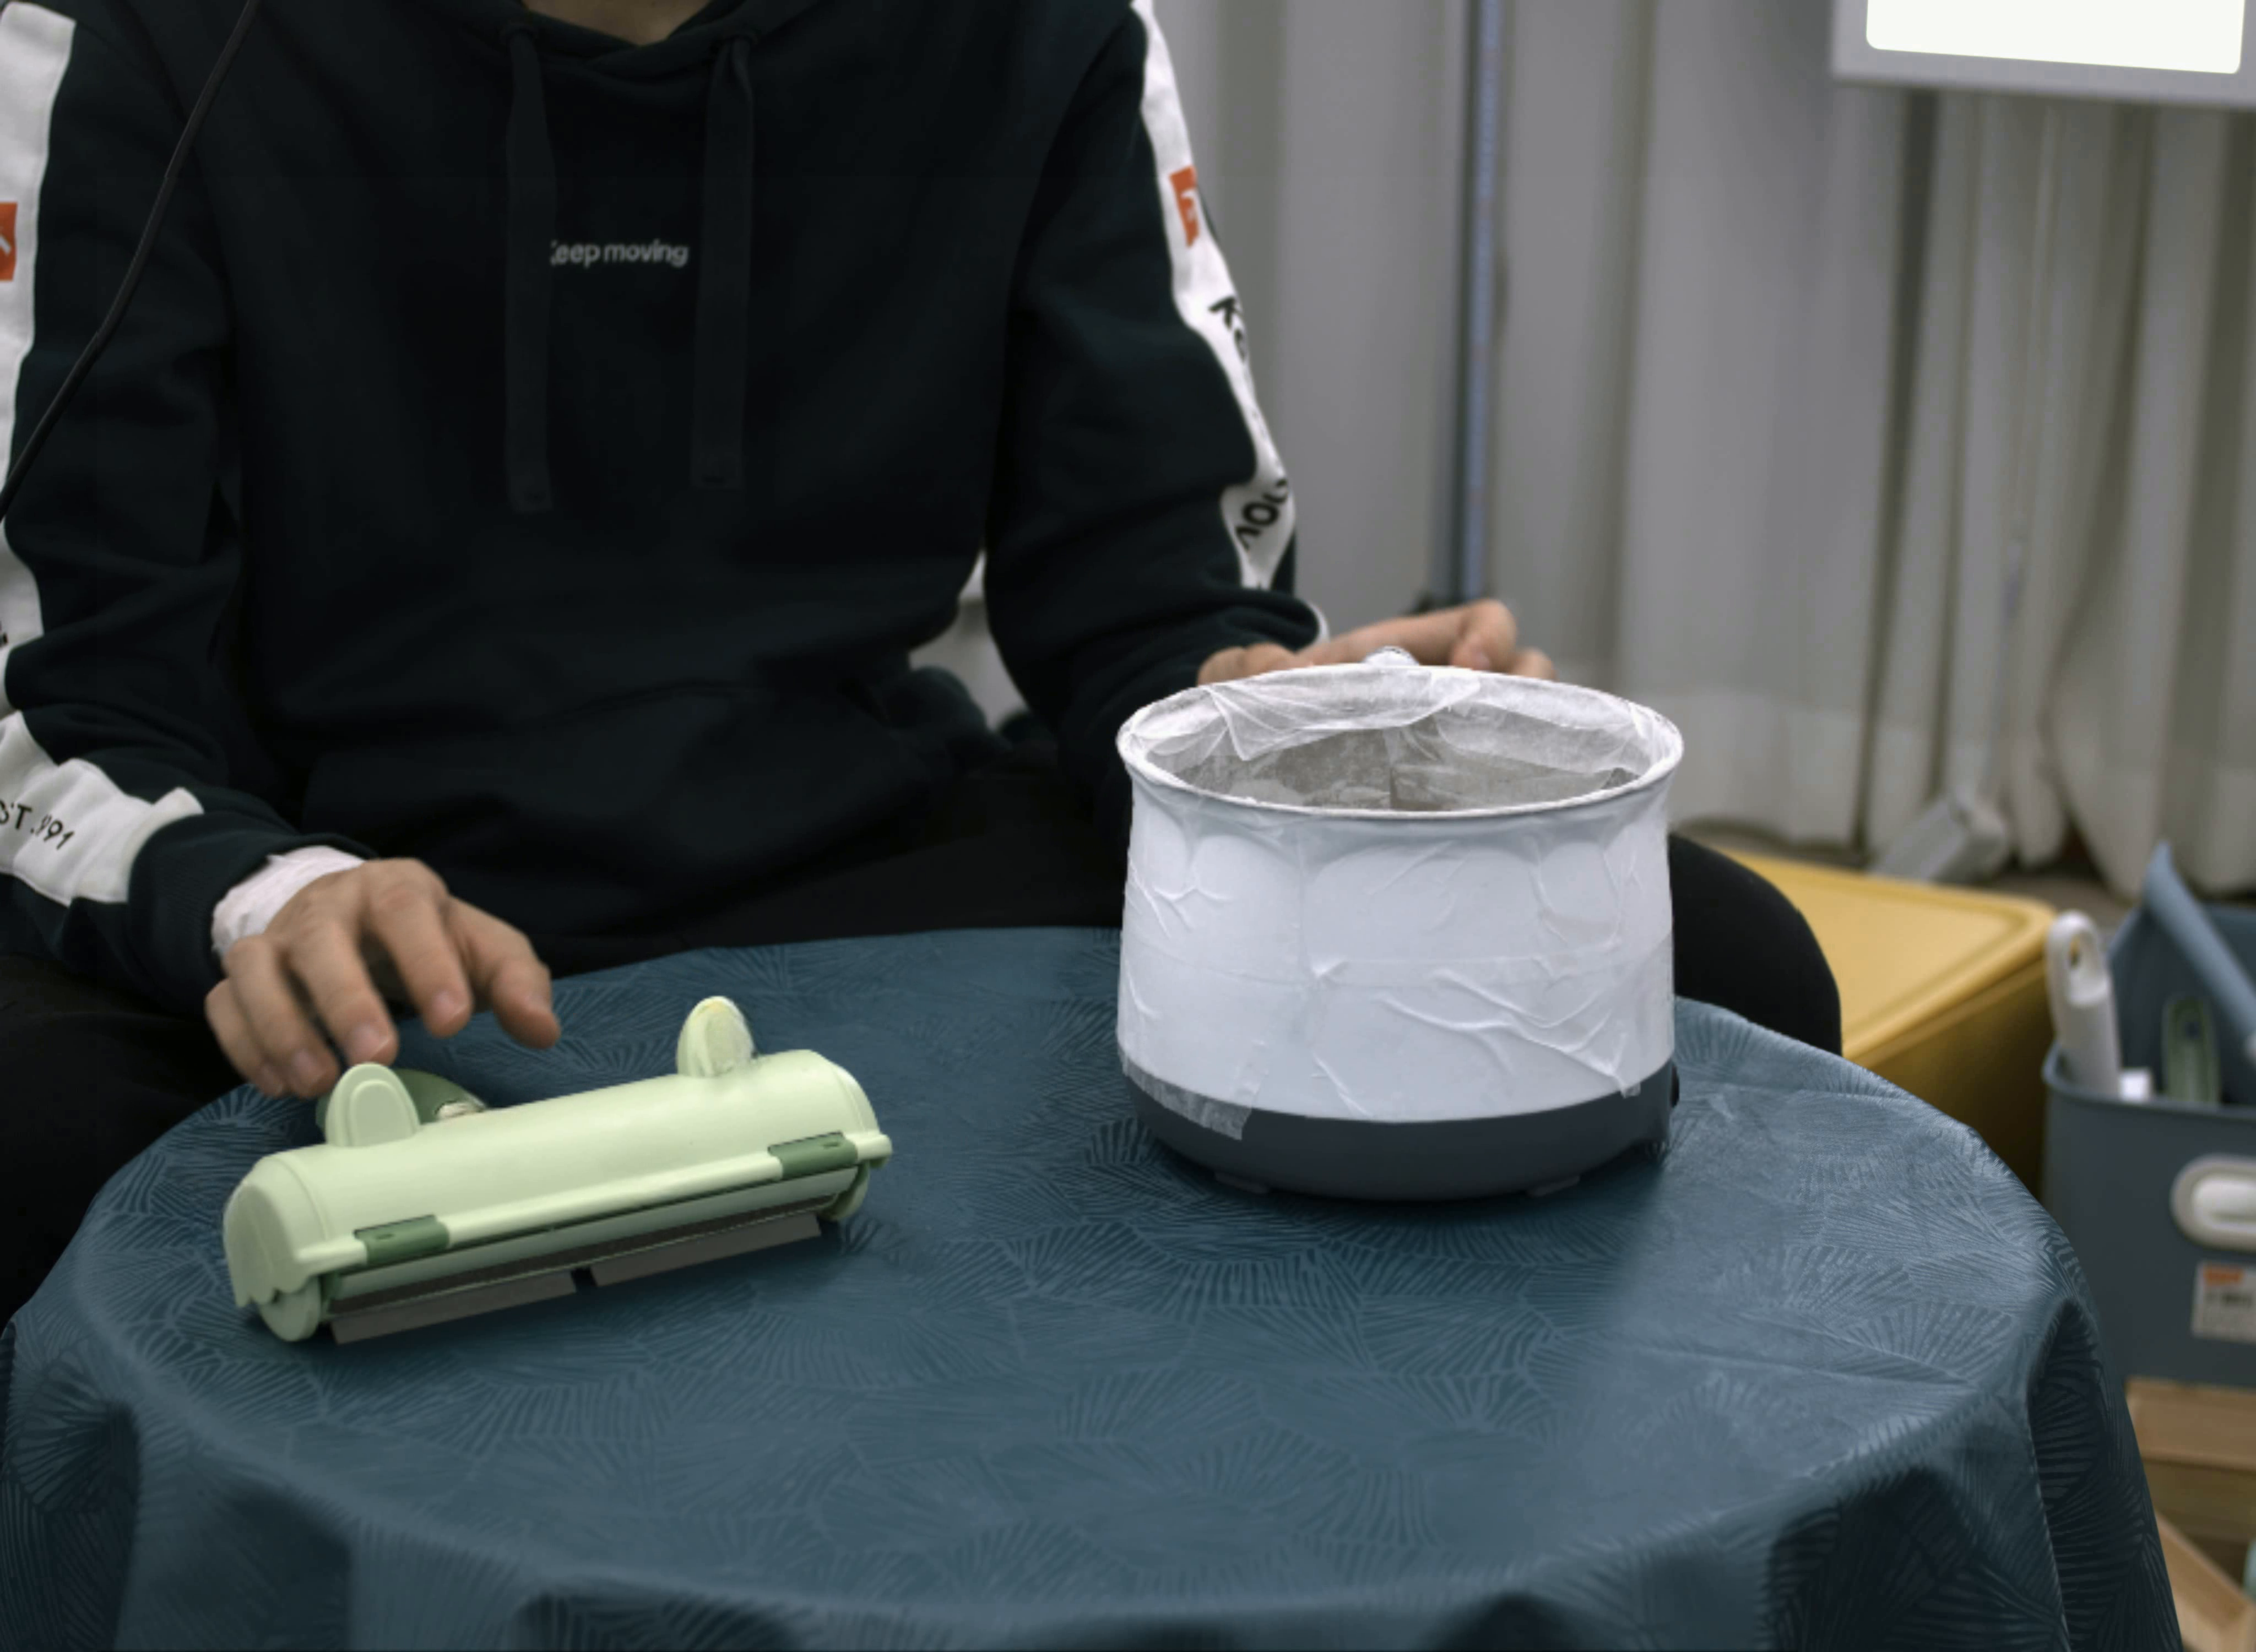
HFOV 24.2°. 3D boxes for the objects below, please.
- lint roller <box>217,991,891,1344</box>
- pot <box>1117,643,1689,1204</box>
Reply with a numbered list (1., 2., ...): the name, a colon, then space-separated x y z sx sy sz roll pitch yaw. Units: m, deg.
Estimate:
1. lint roller: -0.197 0.083 1.577 0.199 0.083 0.181 -11 24 -33
2. pot: 0.085 0.026 1.675 0.178 0.138 0.232 1 17 0
